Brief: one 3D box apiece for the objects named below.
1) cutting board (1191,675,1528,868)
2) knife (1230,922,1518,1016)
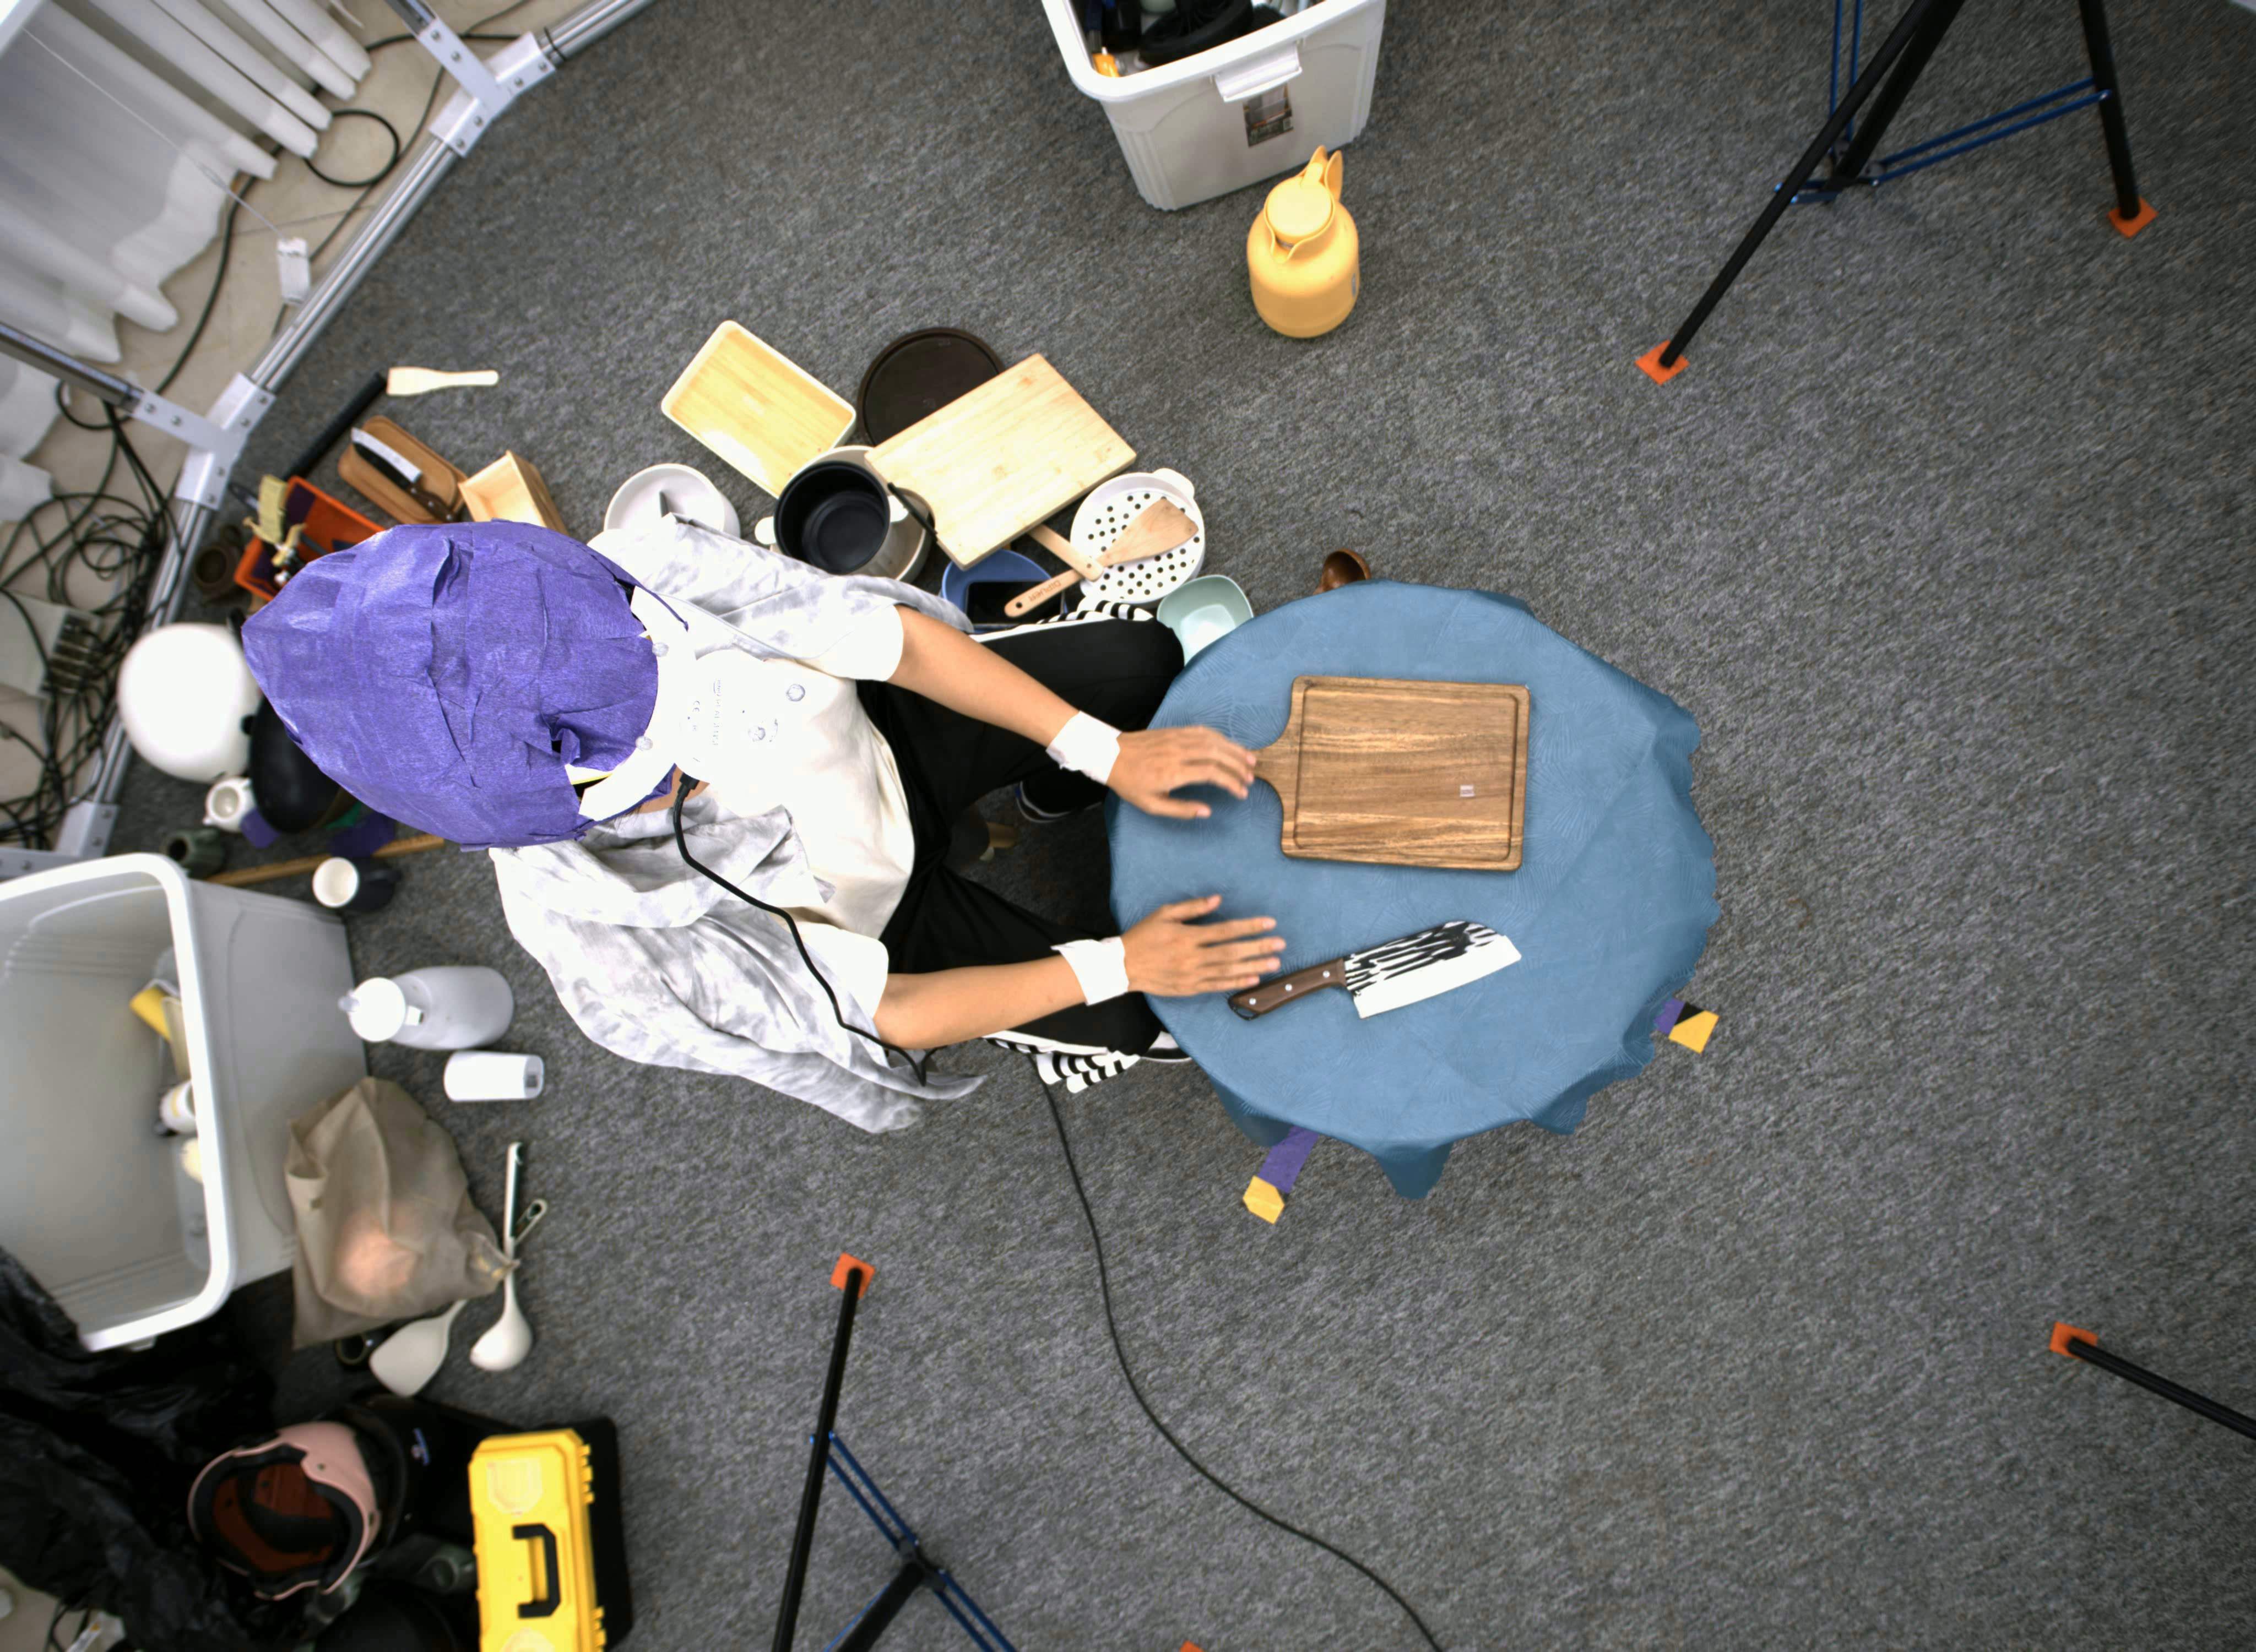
[{"bbox_3d":[0.242,-0.063,1.460,0.353,0.023,0.200,3,87,11],"label":"cutting board"},{"bbox_3d":[0.257,0.158,1.446,0.301,0.024,0.068,-17,86,6],"label":"knife"}]
